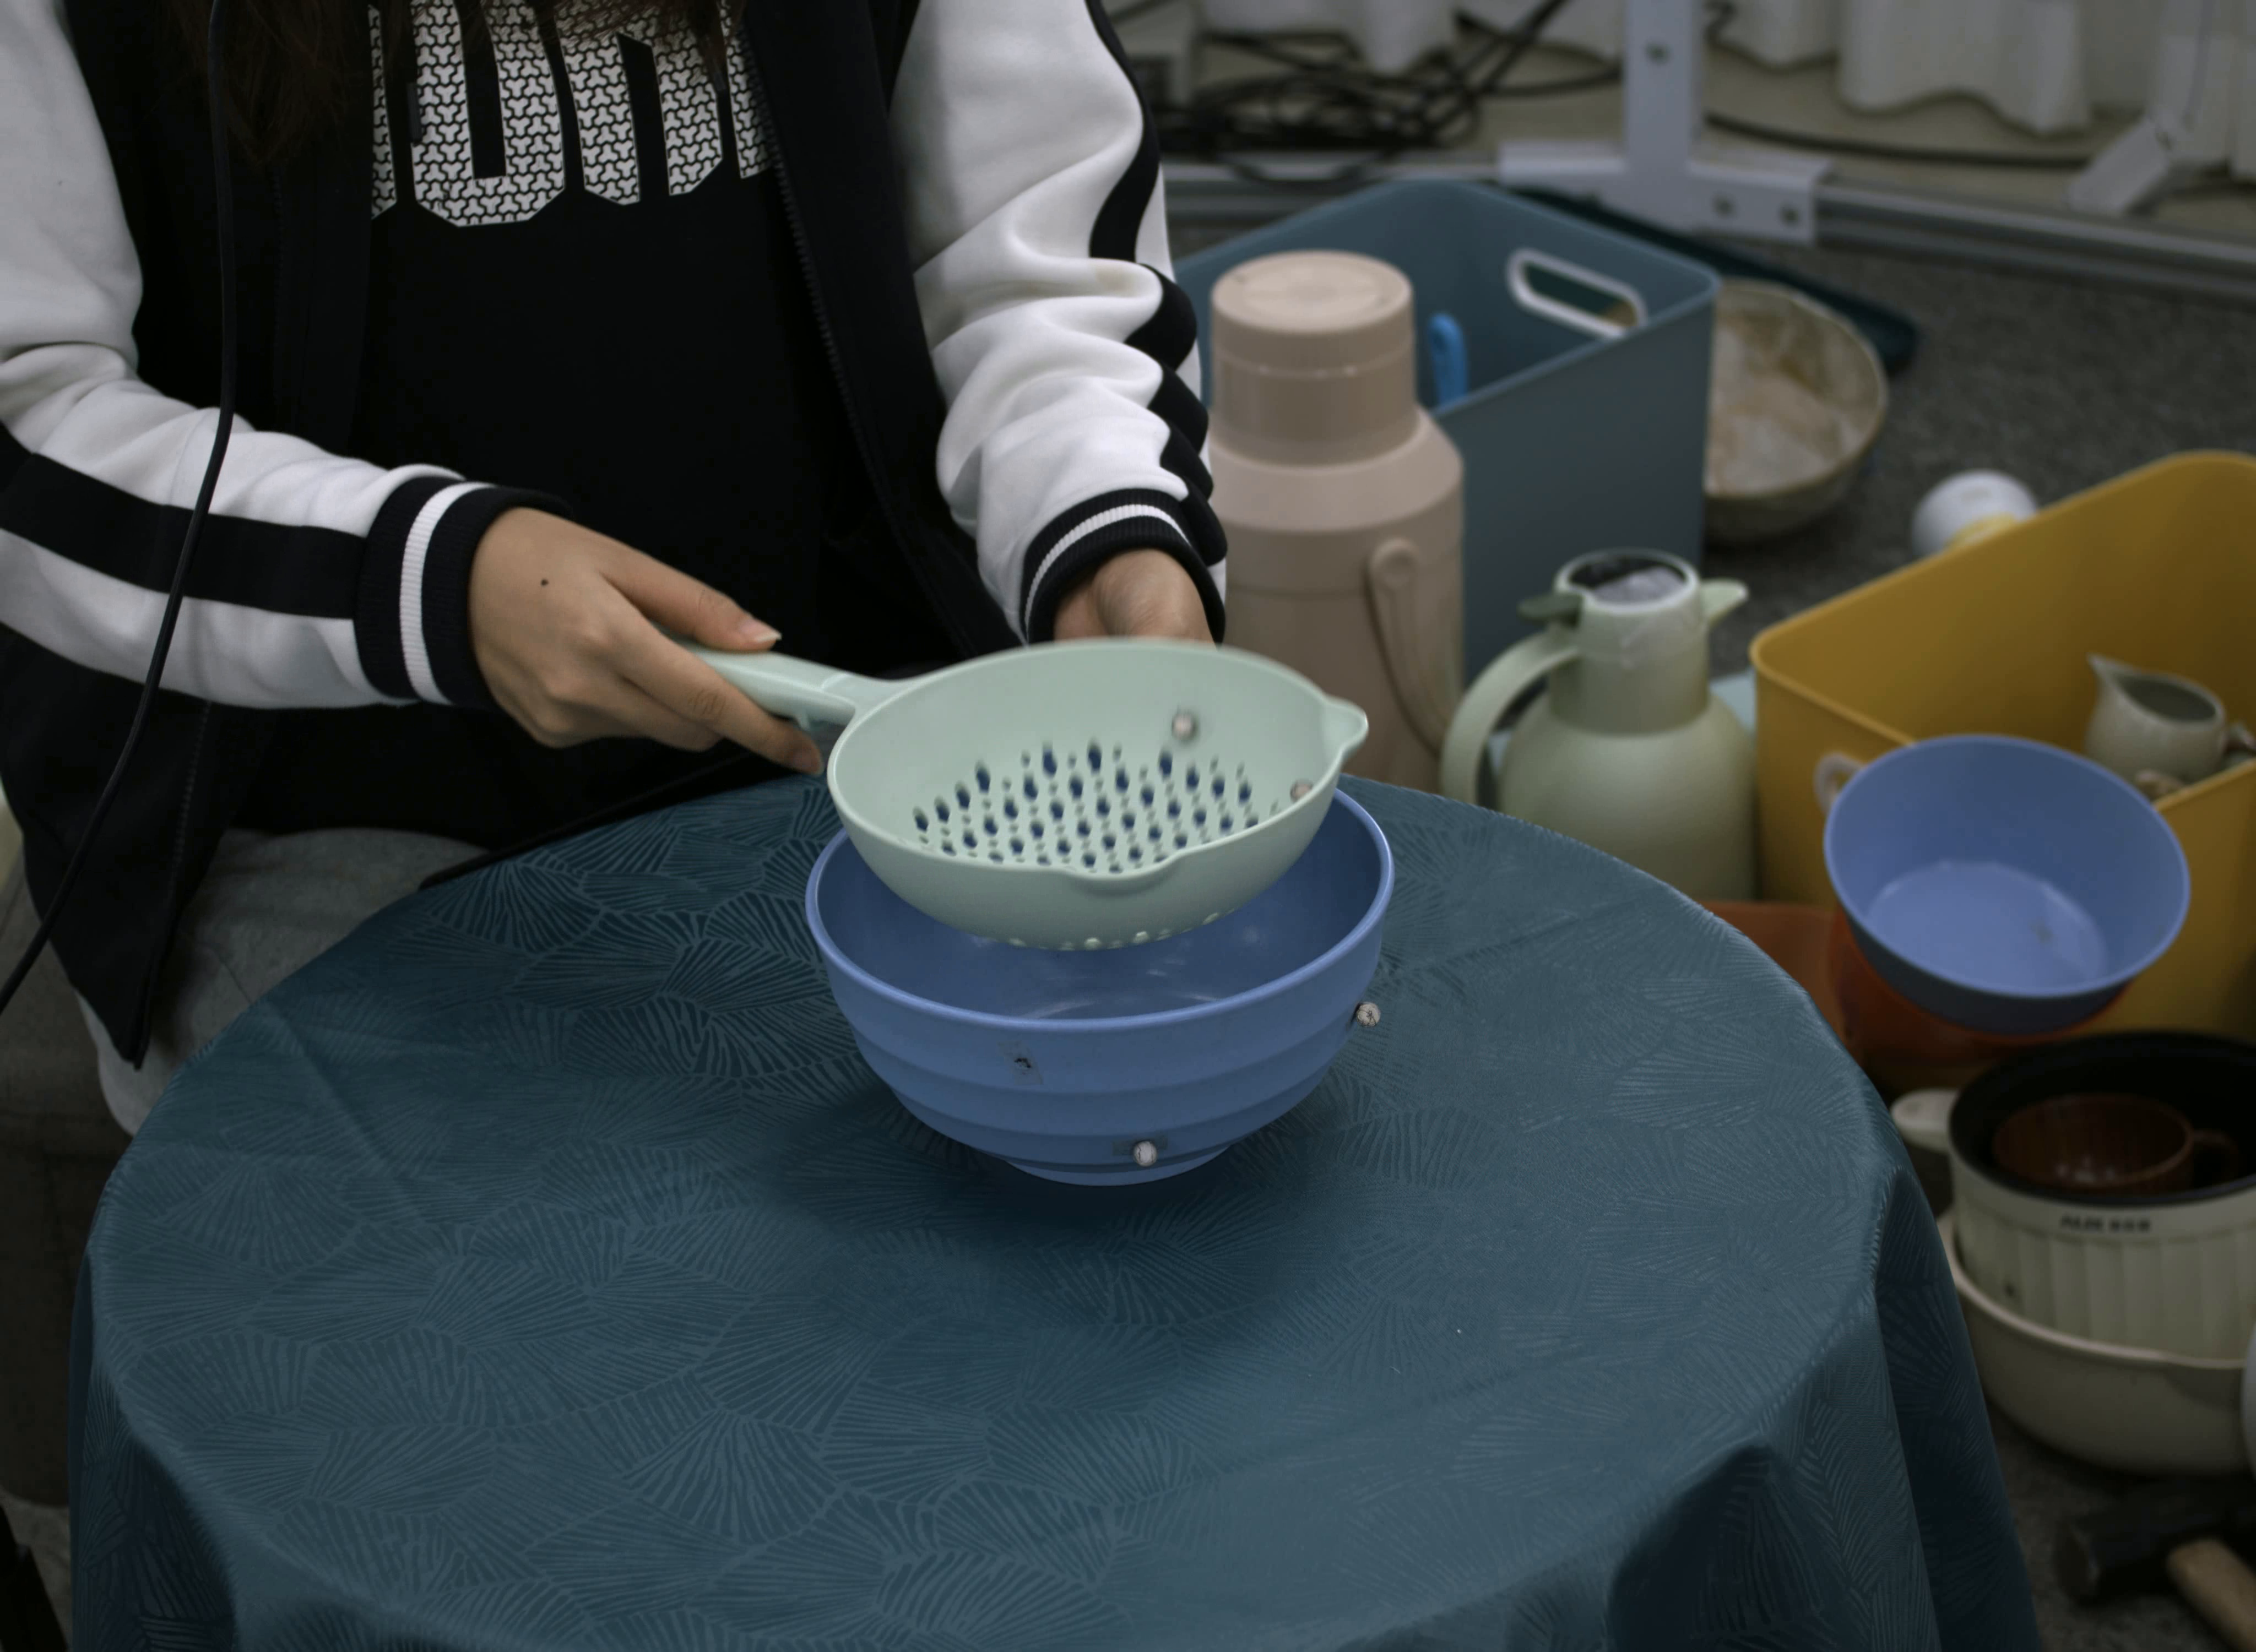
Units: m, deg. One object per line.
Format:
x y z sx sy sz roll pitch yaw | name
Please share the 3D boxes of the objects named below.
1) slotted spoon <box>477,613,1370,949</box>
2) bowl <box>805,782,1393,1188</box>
-0.089 -0.032 1.899 0.358 0.074 0.171 22 31 32 | slotted spoon
-0.007 0.058 1.884 0.195 0.094 0.199 -3 27 2 | bowl
